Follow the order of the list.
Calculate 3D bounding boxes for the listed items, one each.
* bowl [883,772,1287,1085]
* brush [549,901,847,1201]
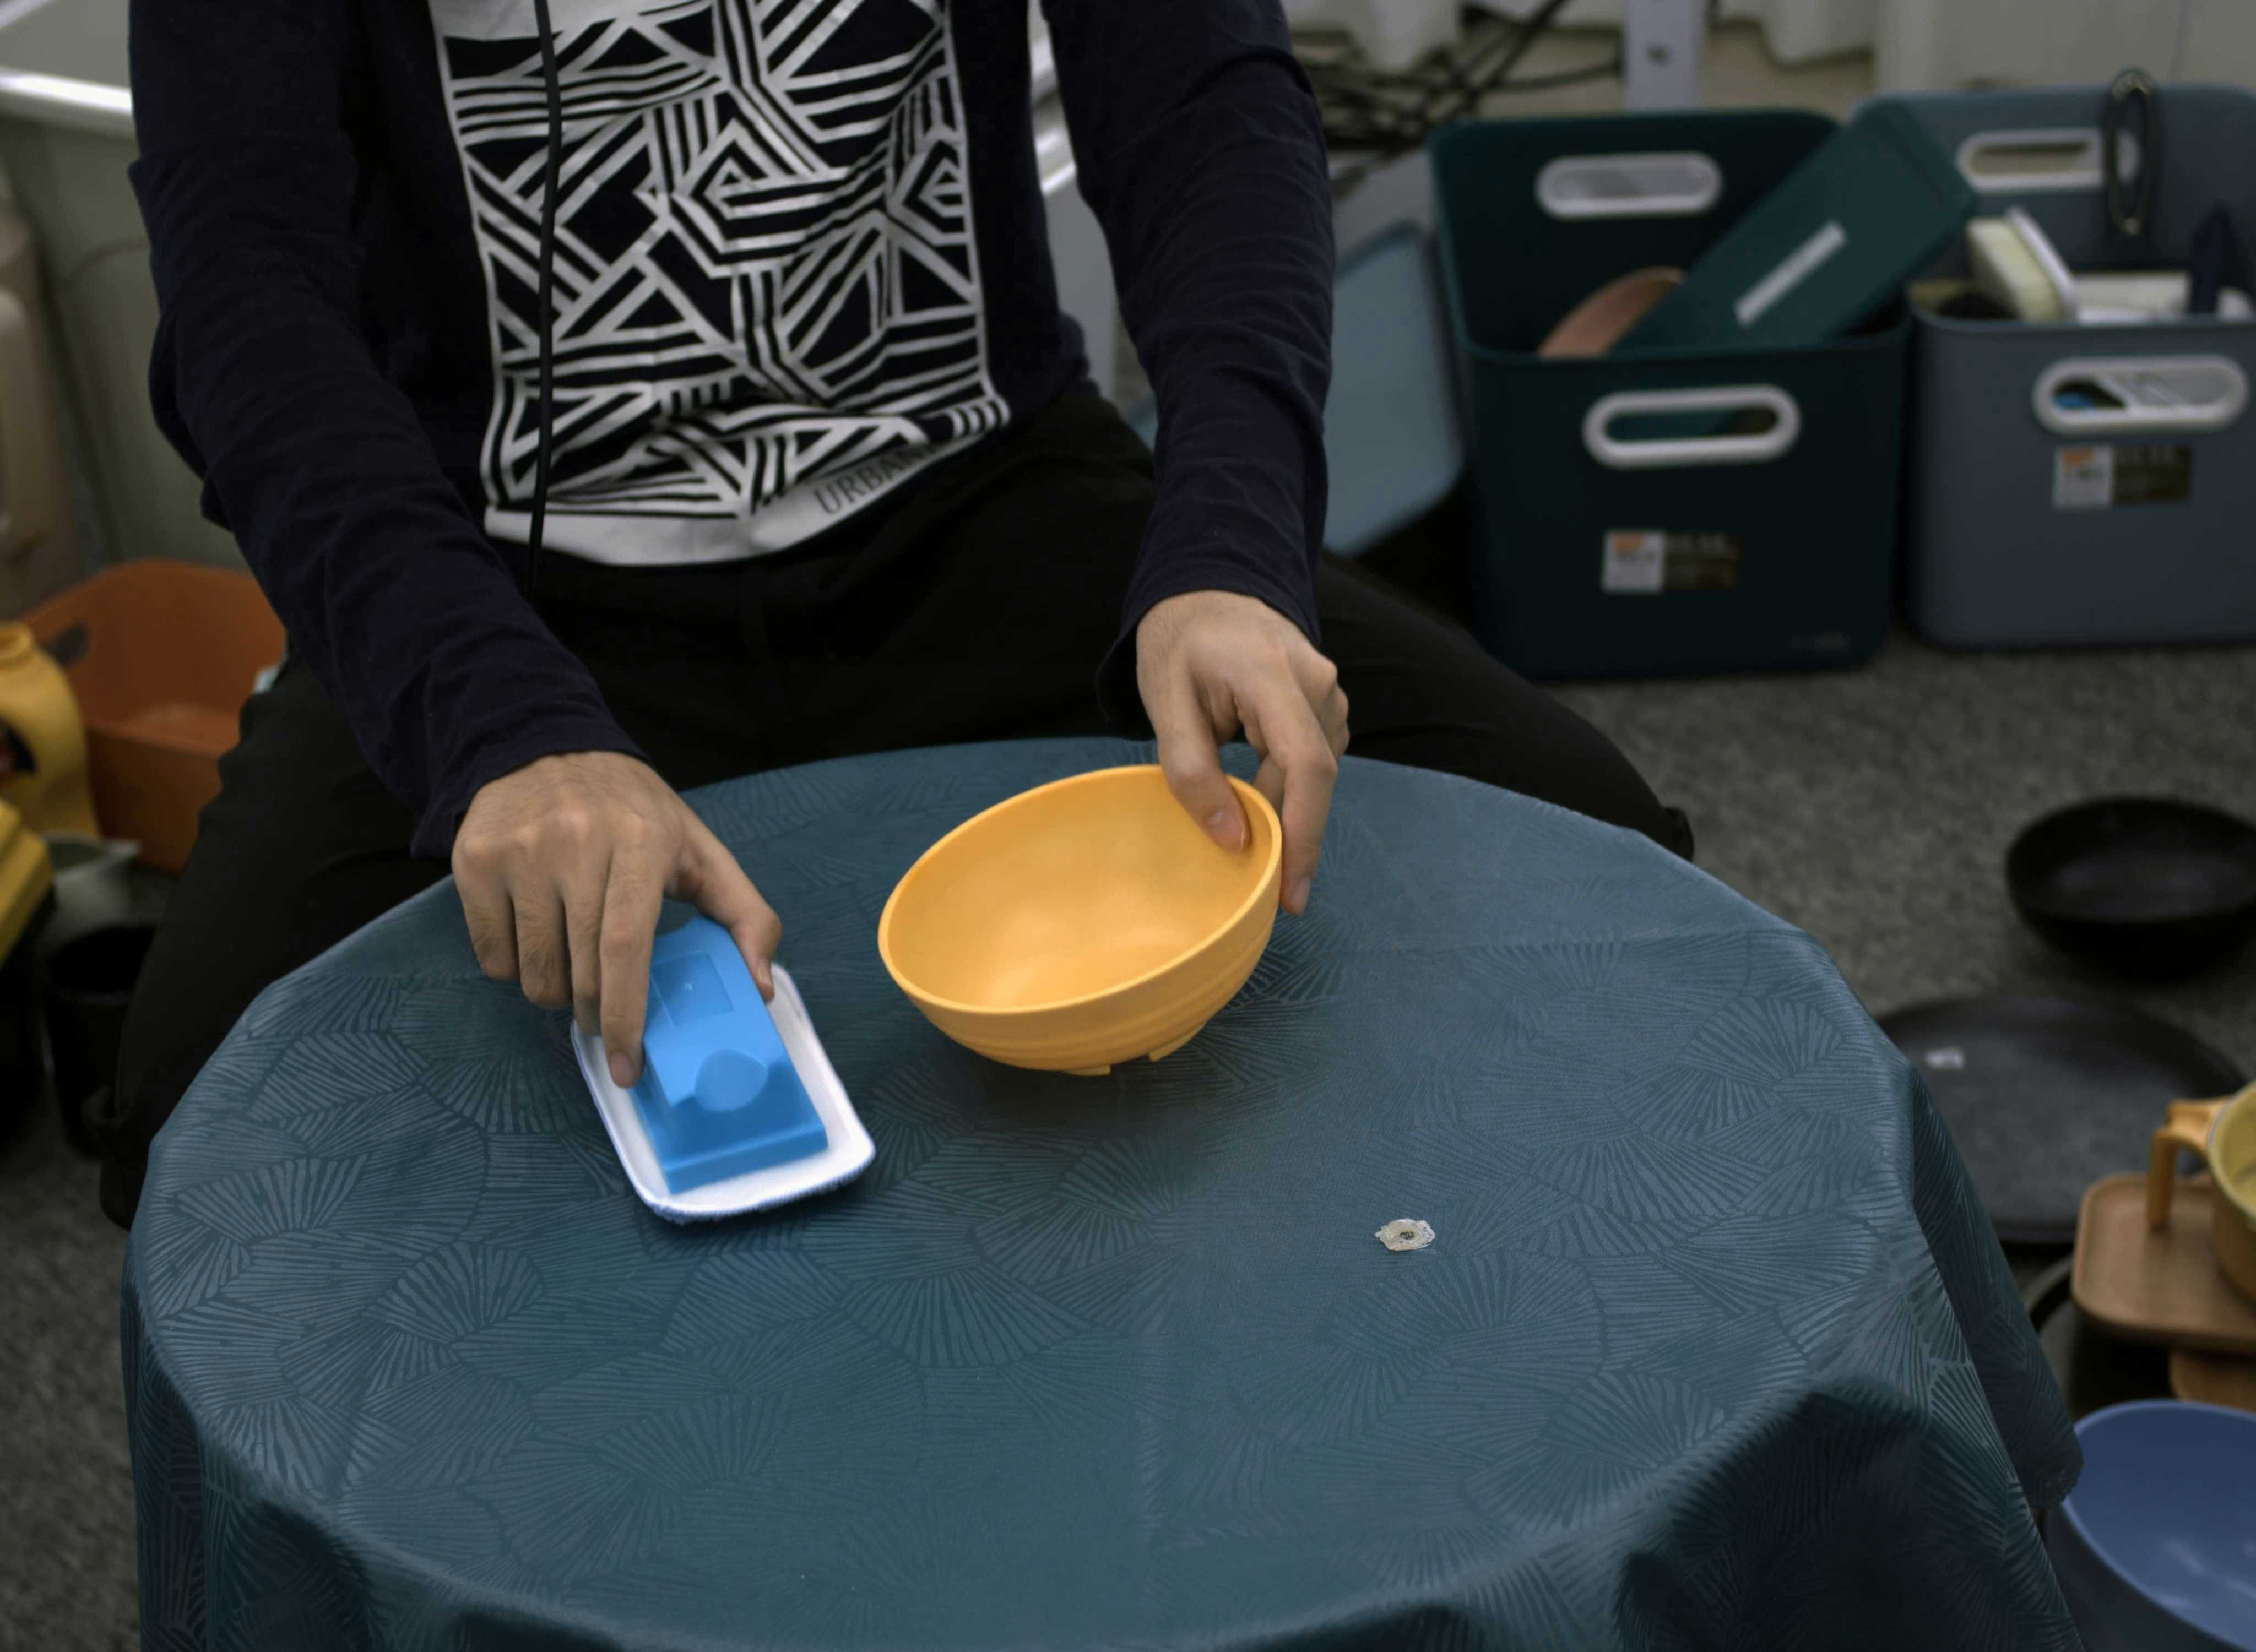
[{"bbox_3d":[-0.009,0.046,1.932,0.144,0.059,0.148,-11,31,7],"label":"bowl"},{"bbox_3d":[-0.145,0.071,1.896,0.084,0.055,0.145,-8,32,-14],"label":"brush"}]
